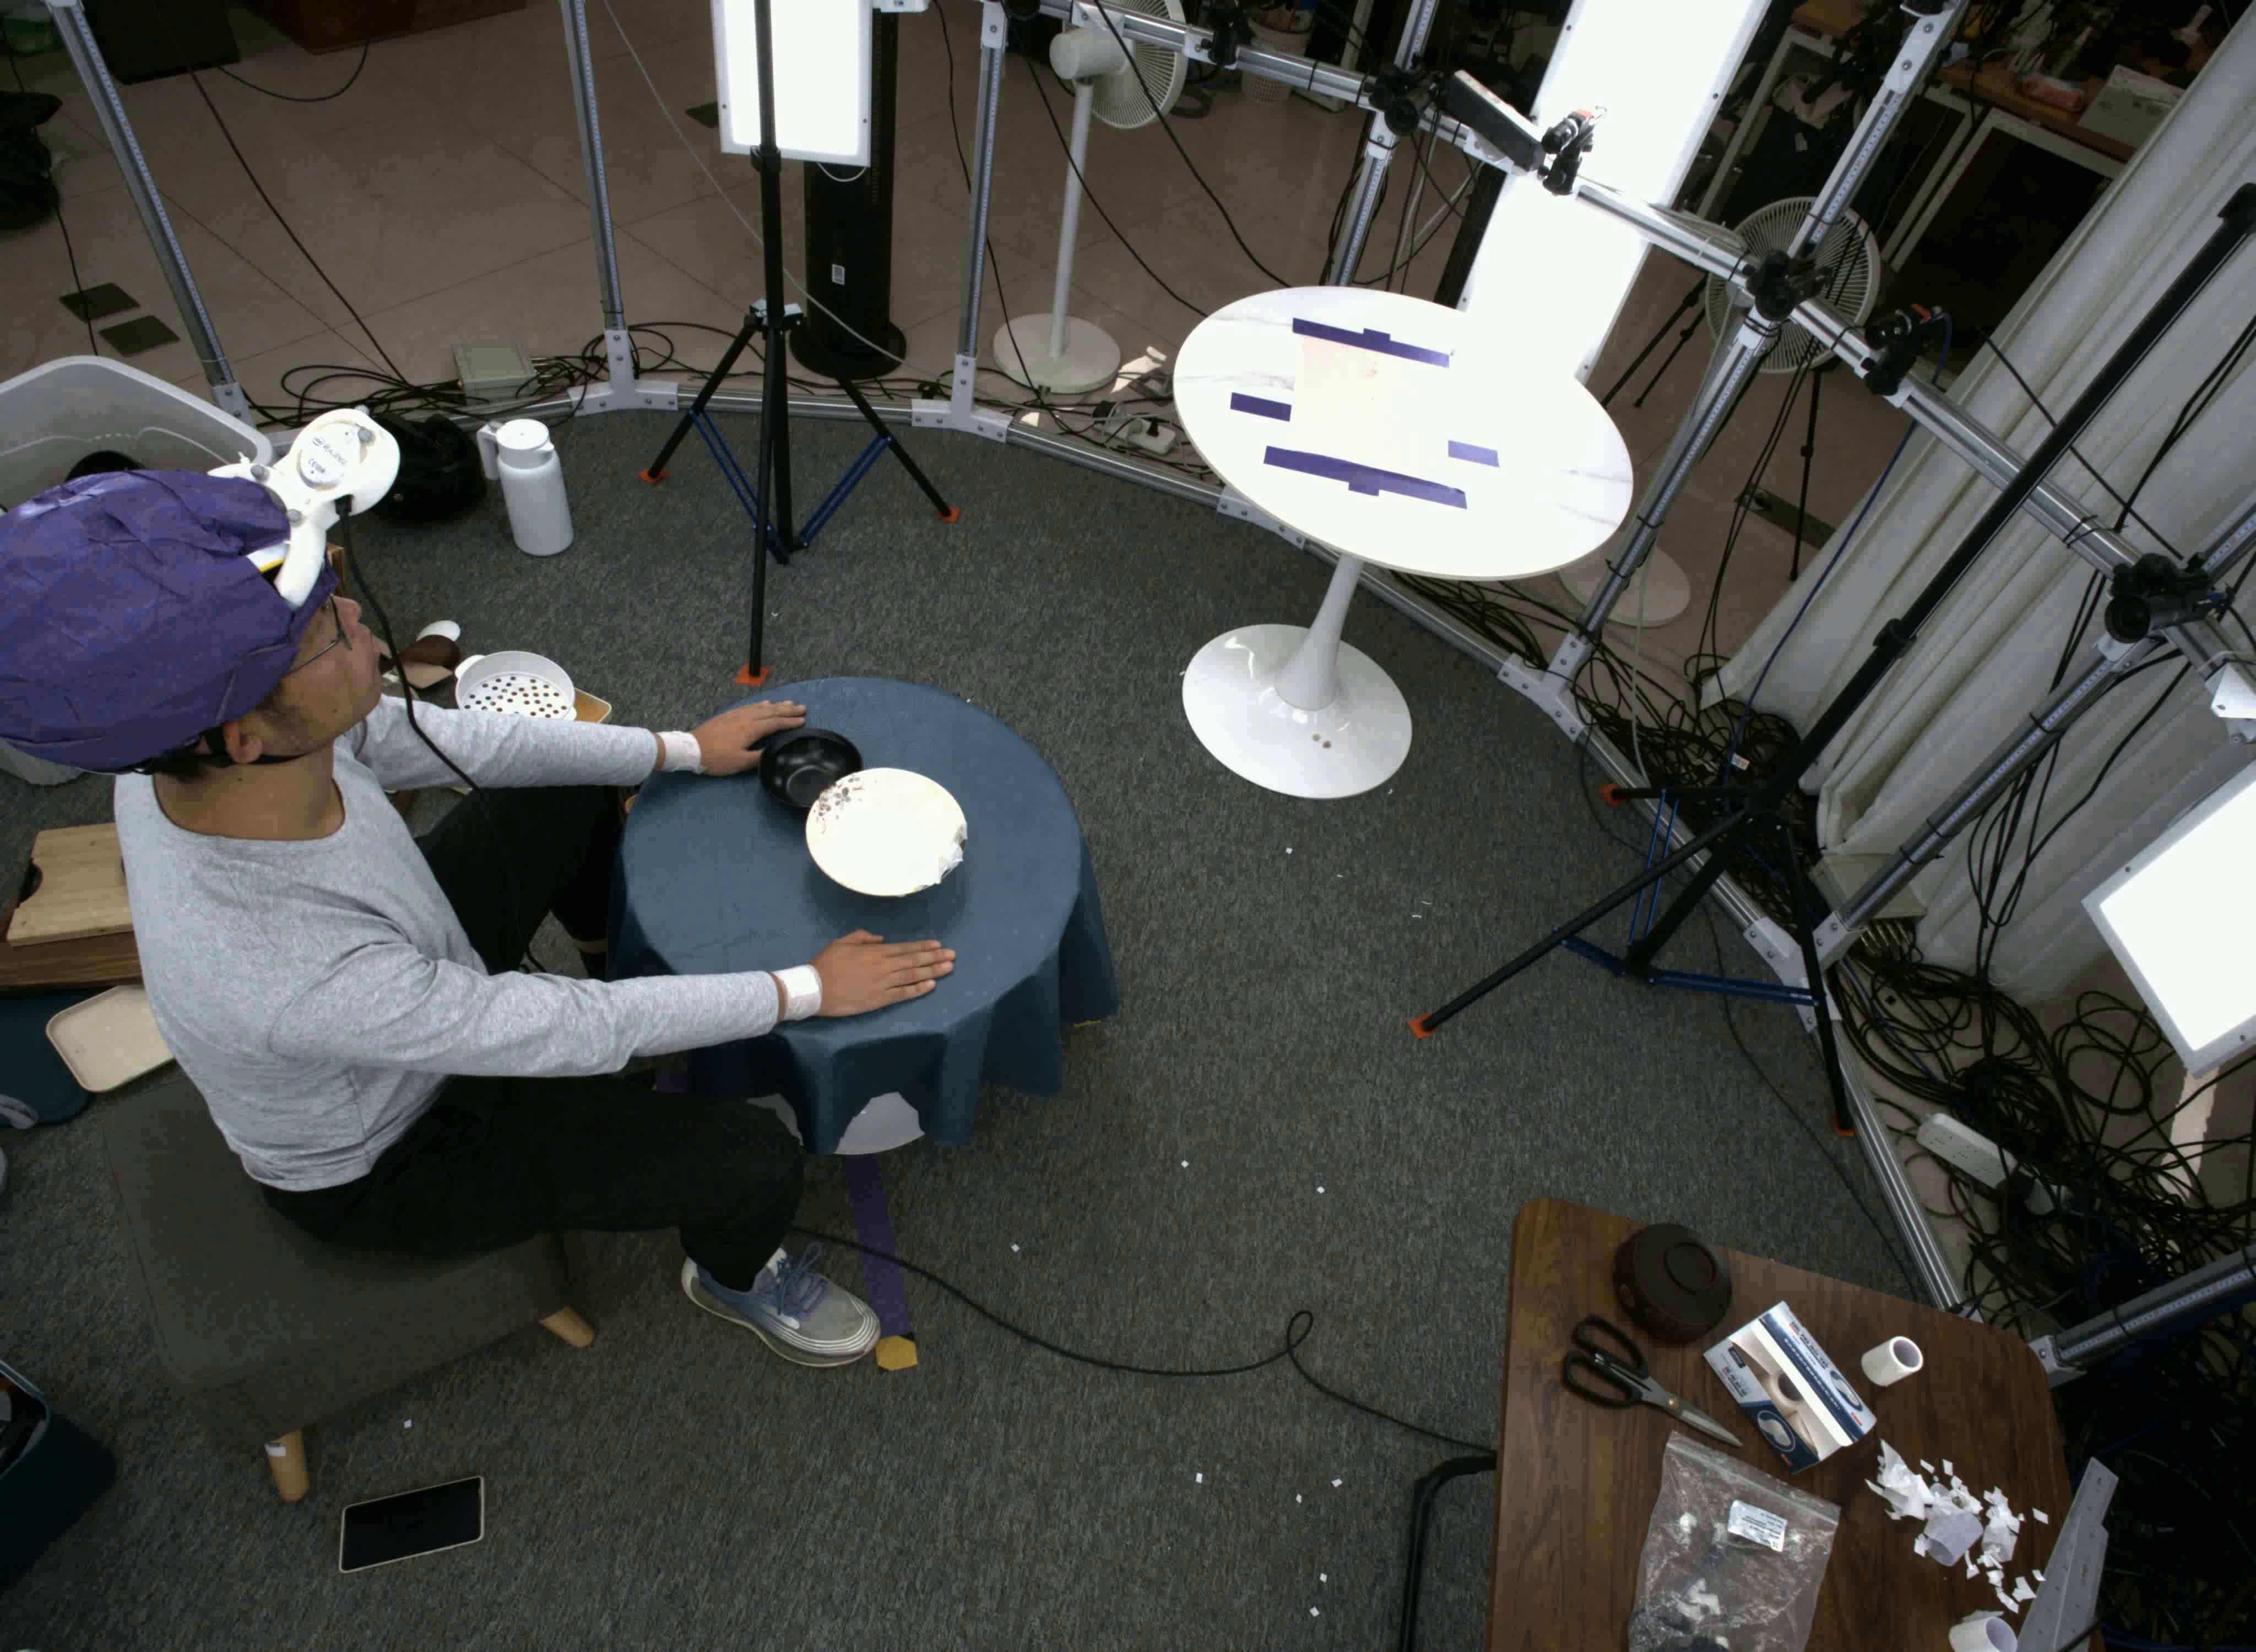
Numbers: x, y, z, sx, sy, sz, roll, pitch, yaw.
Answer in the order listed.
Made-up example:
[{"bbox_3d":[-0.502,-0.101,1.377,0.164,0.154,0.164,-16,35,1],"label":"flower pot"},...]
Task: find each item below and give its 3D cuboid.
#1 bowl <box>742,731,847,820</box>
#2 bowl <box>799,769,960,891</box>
[{"bbox_3d":[-0.446,-0.060,1.746,0.139,0.051,0.137,4,54,-4],"label":"bowl"},{"bbox_3d":[-0.323,0.024,1.679,0.204,0.079,0.200,11,46,-10],"label":"bowl"}]
